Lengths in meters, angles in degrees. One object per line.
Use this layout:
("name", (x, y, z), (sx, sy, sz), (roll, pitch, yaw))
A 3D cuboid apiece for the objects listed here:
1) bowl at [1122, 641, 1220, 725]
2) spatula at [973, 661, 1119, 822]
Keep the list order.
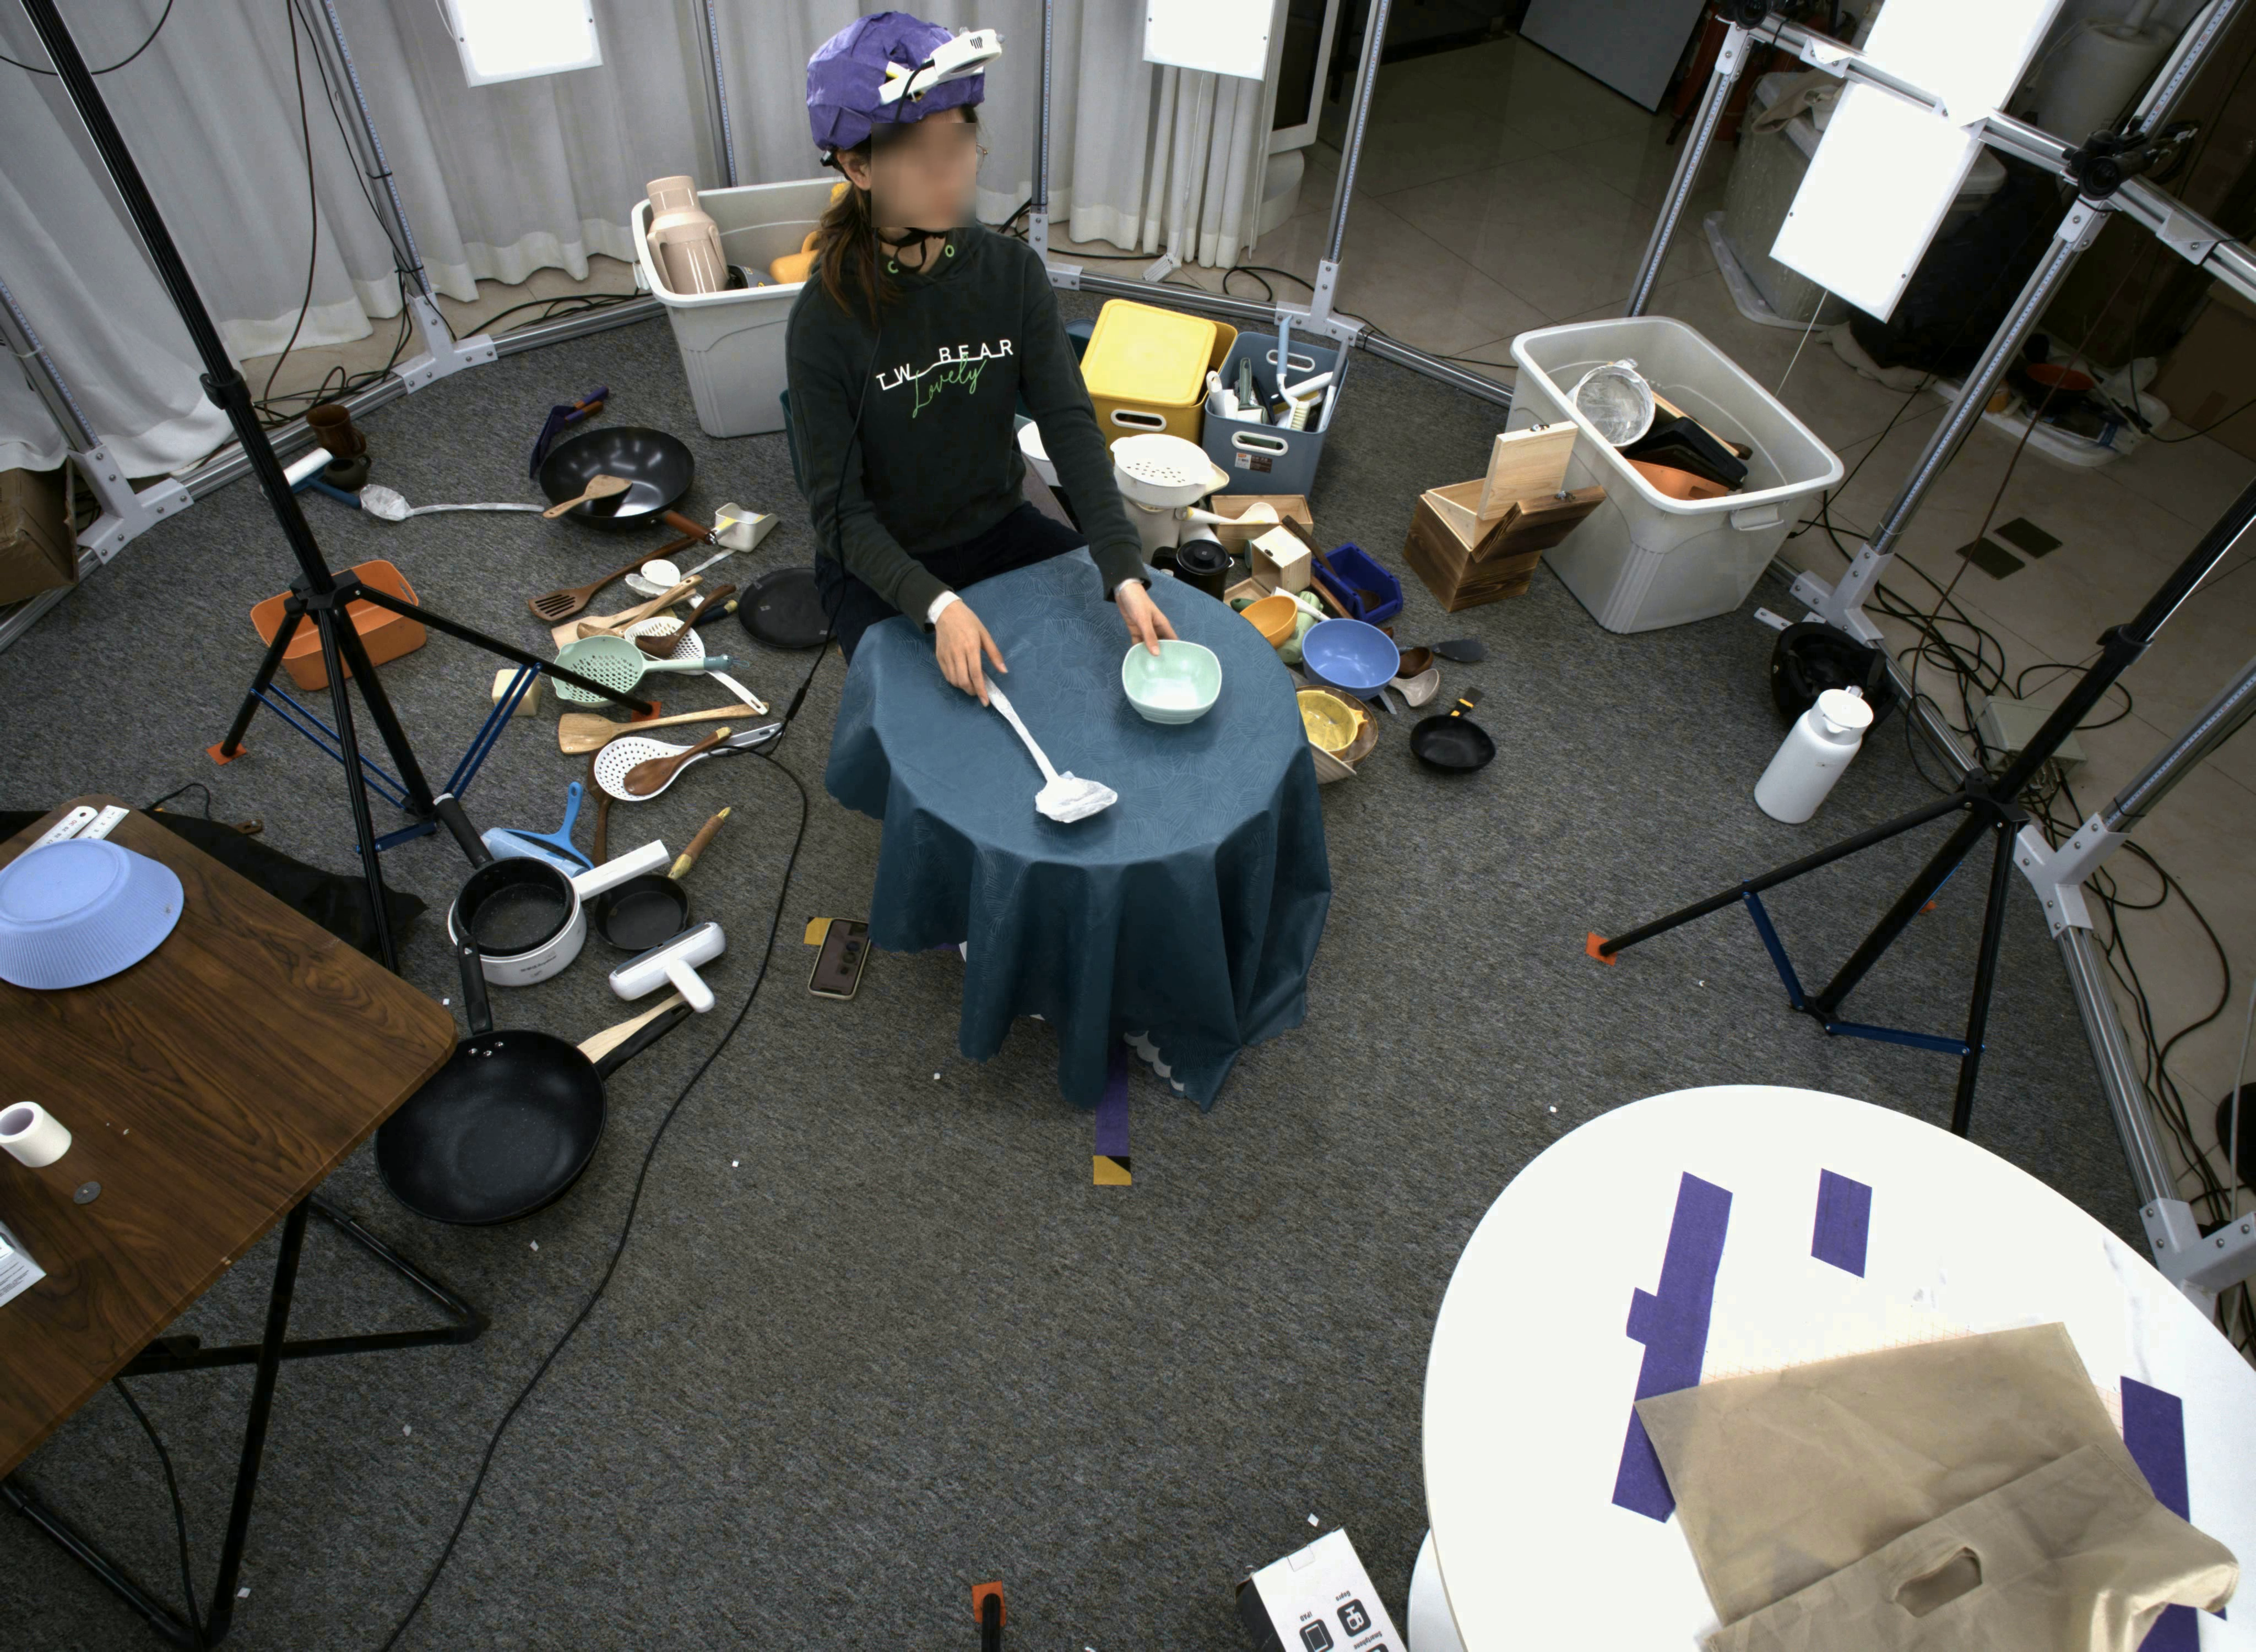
("bowl", (0.059, -0.194, 1.821), (0.151, 0.057, 0.155), (3, 50, -4))
("spatula", (-0.135, -0.127, 1.760), (0.099, 0.043, 0.373), (-22, 54, -20))
